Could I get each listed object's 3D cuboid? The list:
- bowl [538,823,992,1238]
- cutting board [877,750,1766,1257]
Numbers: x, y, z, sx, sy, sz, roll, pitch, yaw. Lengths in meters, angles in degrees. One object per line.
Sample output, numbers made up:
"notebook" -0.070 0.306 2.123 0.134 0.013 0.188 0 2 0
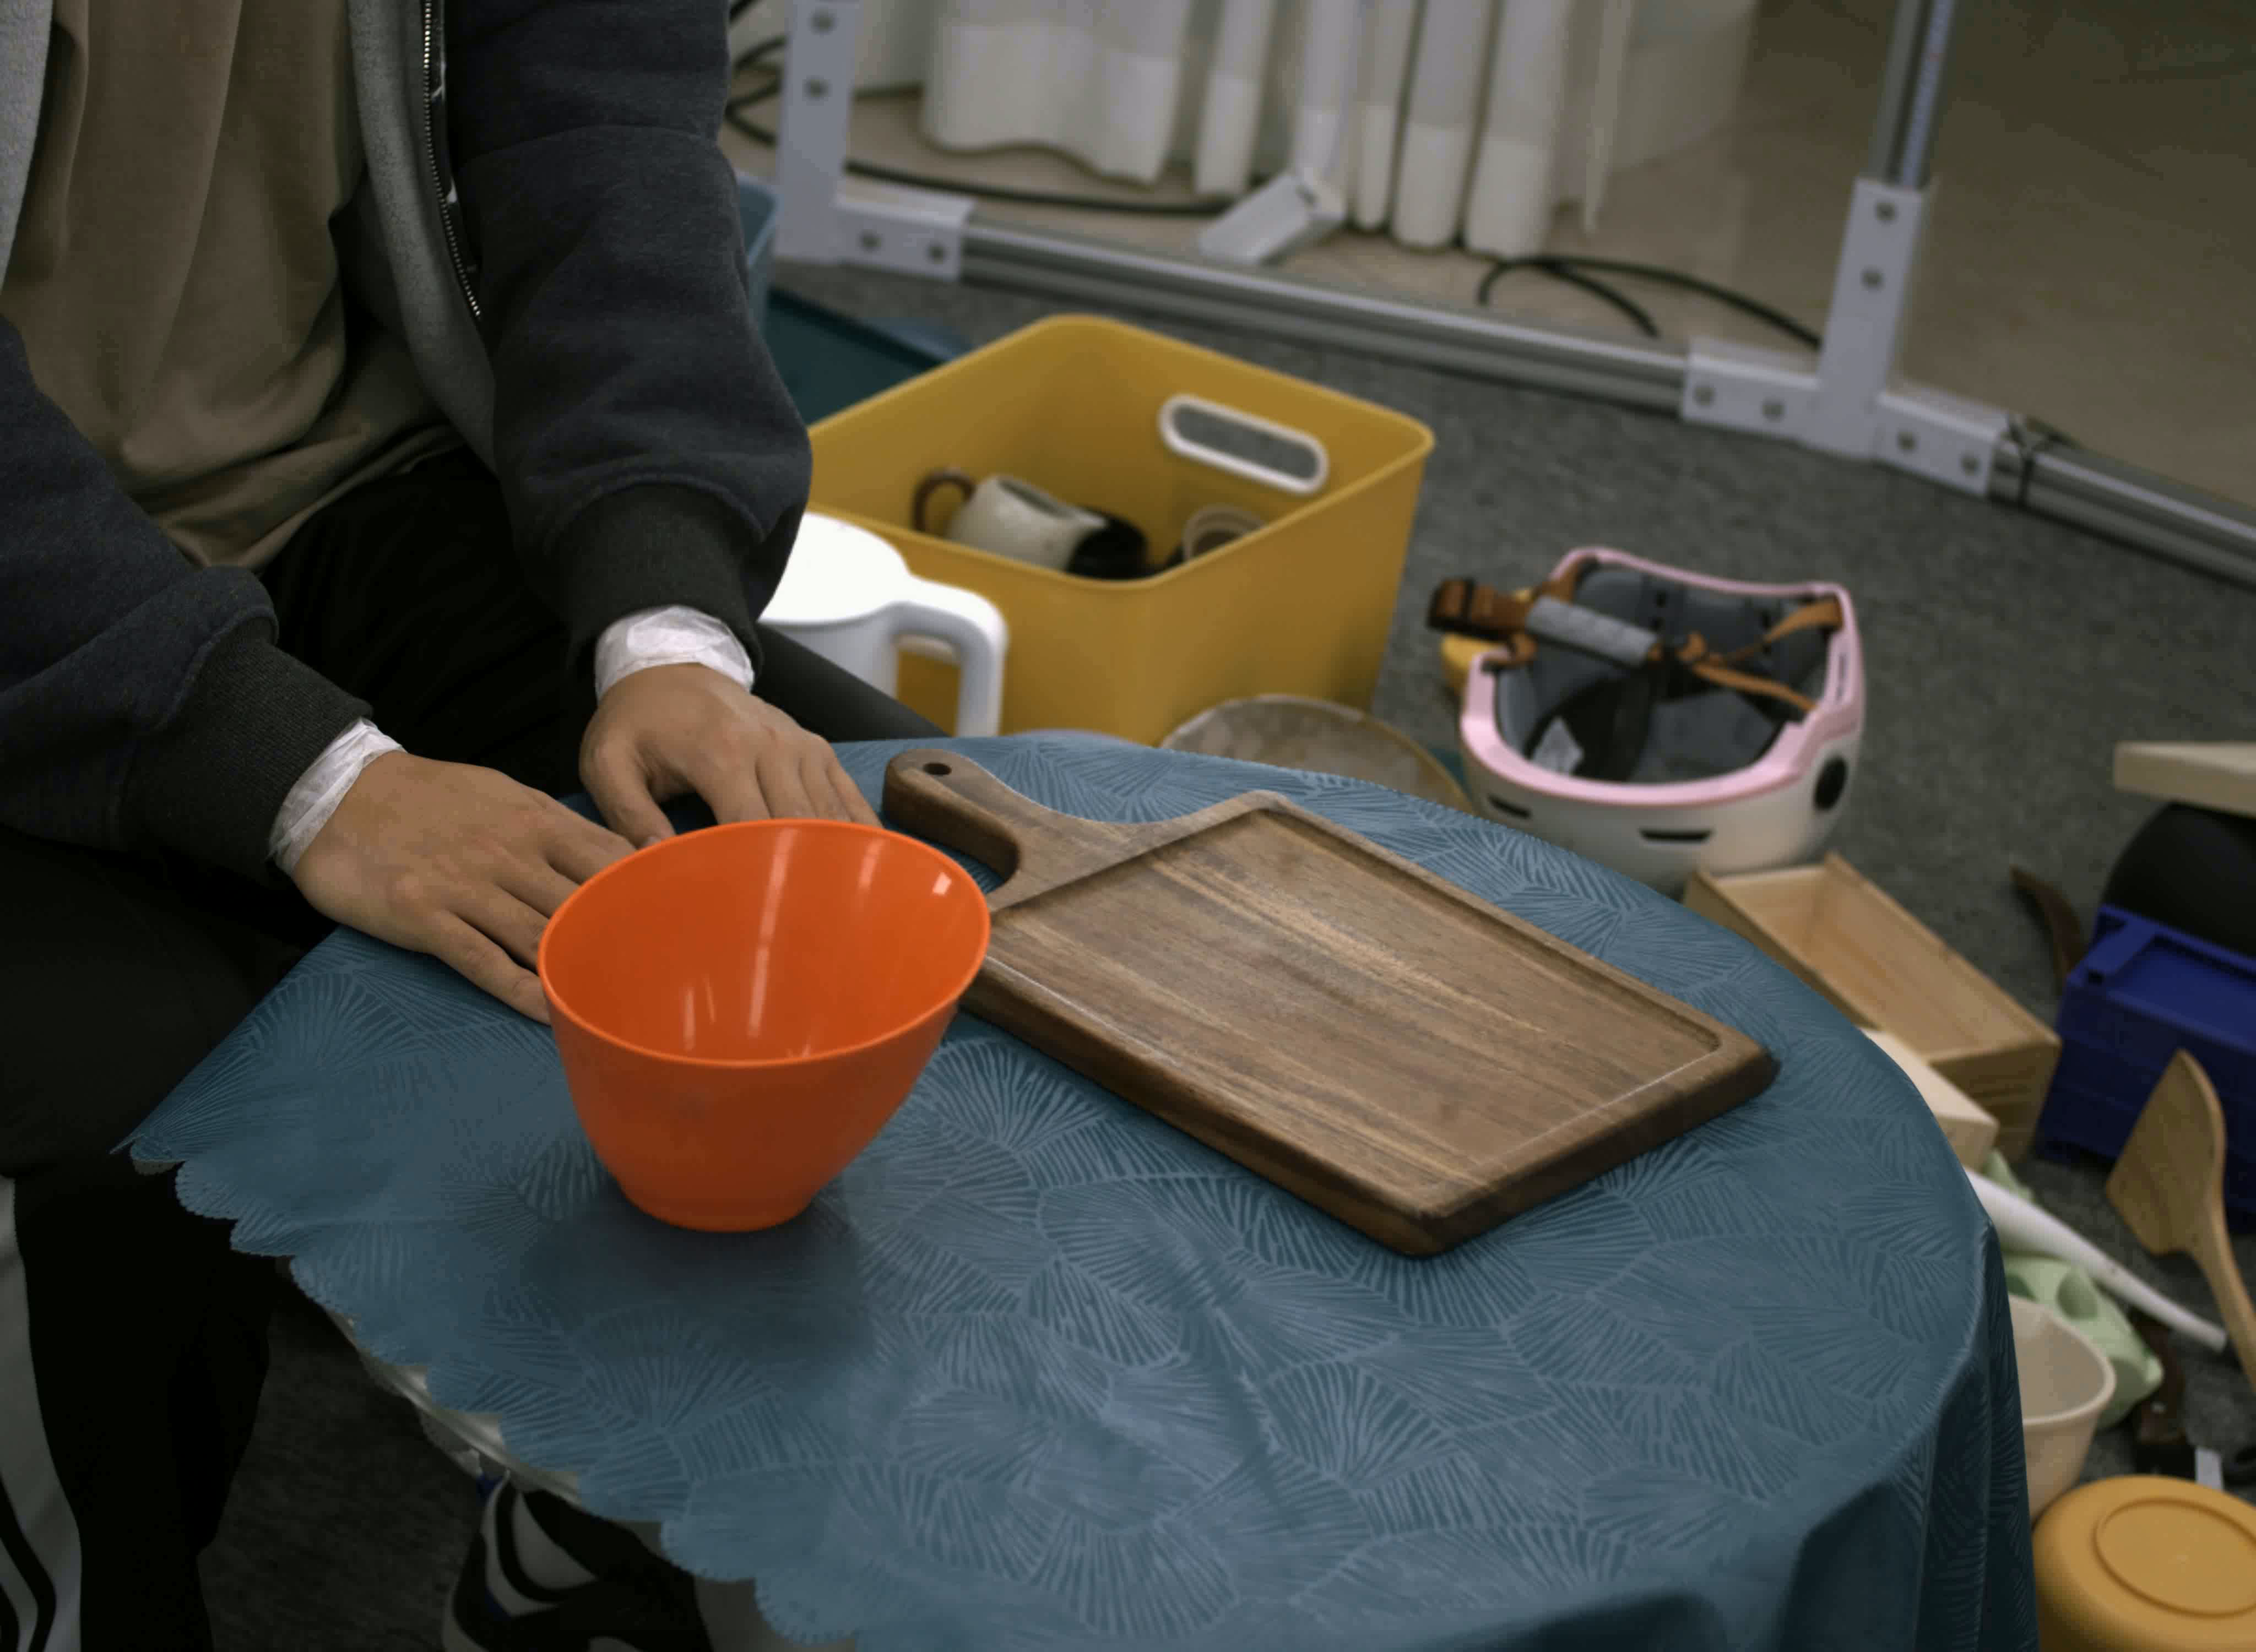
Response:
"bowl" -0.123 0.074 1.761 0.147 0.104 0.149 6 27 -3
"cutting board" 0.039 0.046 1.940 0.355 0.023 0.200 28 34 36
